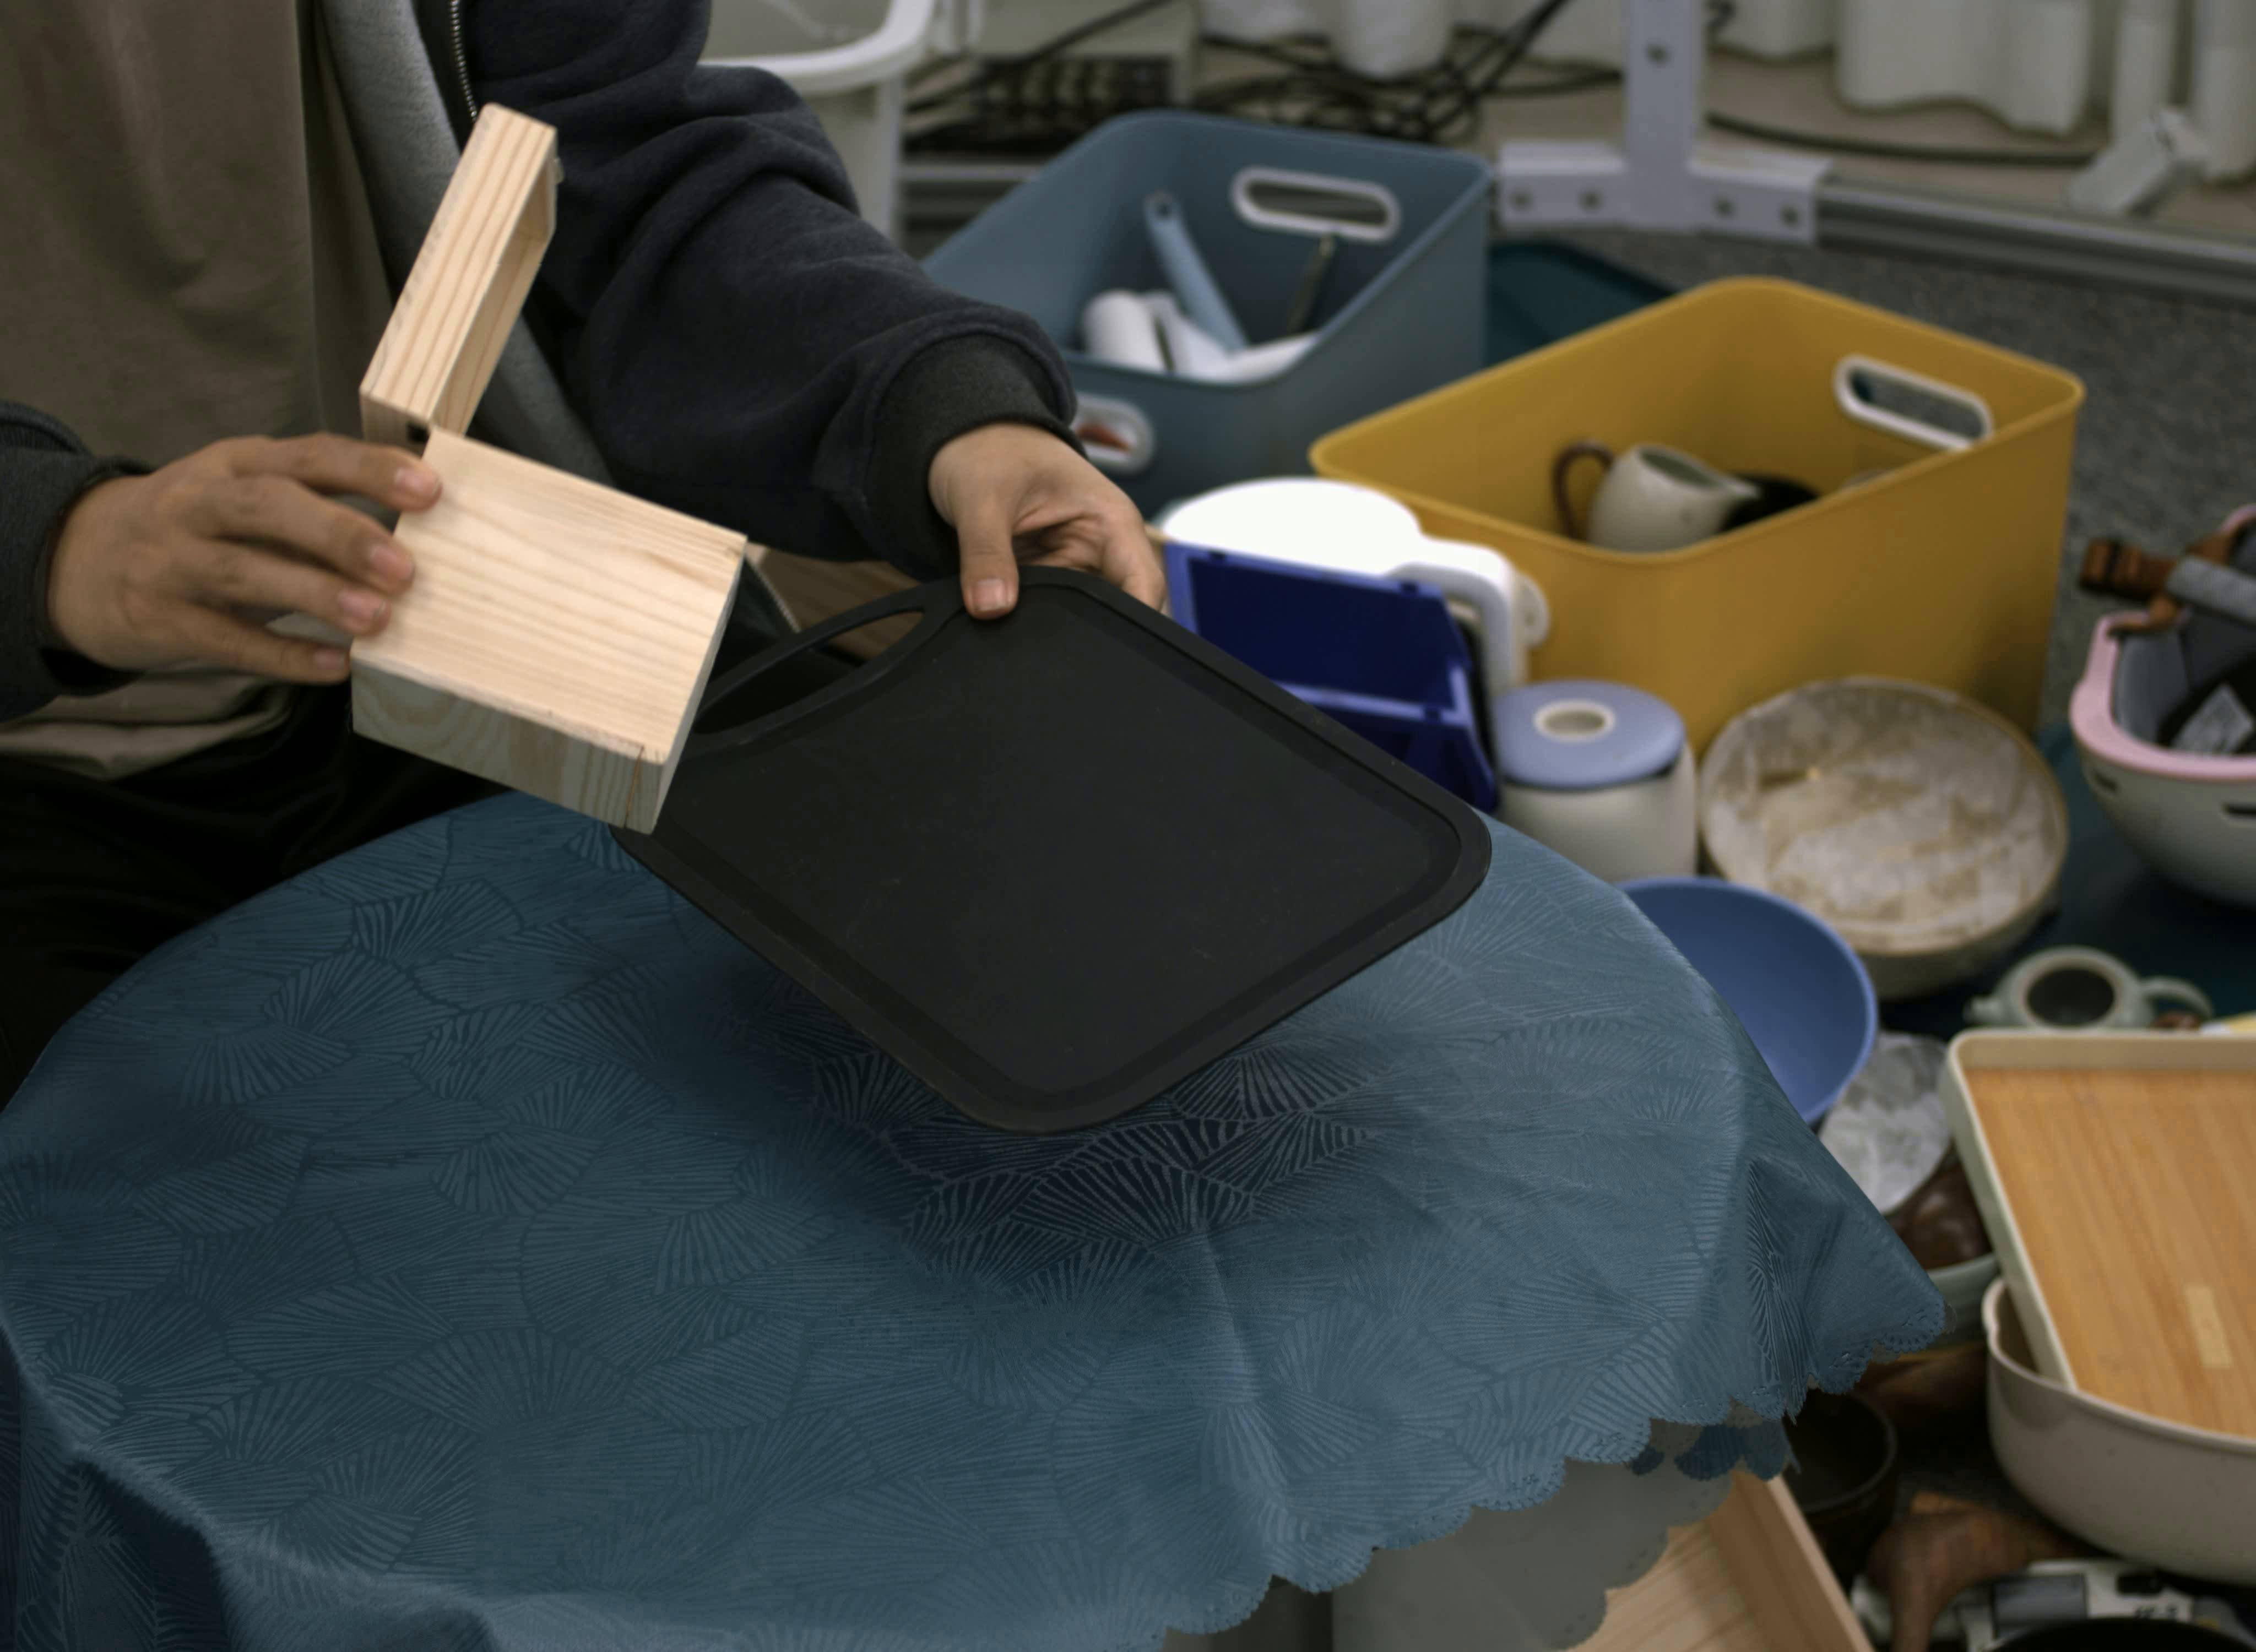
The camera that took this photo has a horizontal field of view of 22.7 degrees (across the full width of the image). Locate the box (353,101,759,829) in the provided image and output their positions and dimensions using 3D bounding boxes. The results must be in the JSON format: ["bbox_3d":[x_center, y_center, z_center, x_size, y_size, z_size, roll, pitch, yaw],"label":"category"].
[{"bbox_3d":[-0.173,-0.111,1.761,0.133,0.187,0.101,17,-13,-3],"label":"box"}]

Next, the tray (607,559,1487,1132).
[{"bbox_3d":[-0.038,-0.003,1.929,0.213,0.009,0.326,-29,38,-22],"label":"tray"}]
